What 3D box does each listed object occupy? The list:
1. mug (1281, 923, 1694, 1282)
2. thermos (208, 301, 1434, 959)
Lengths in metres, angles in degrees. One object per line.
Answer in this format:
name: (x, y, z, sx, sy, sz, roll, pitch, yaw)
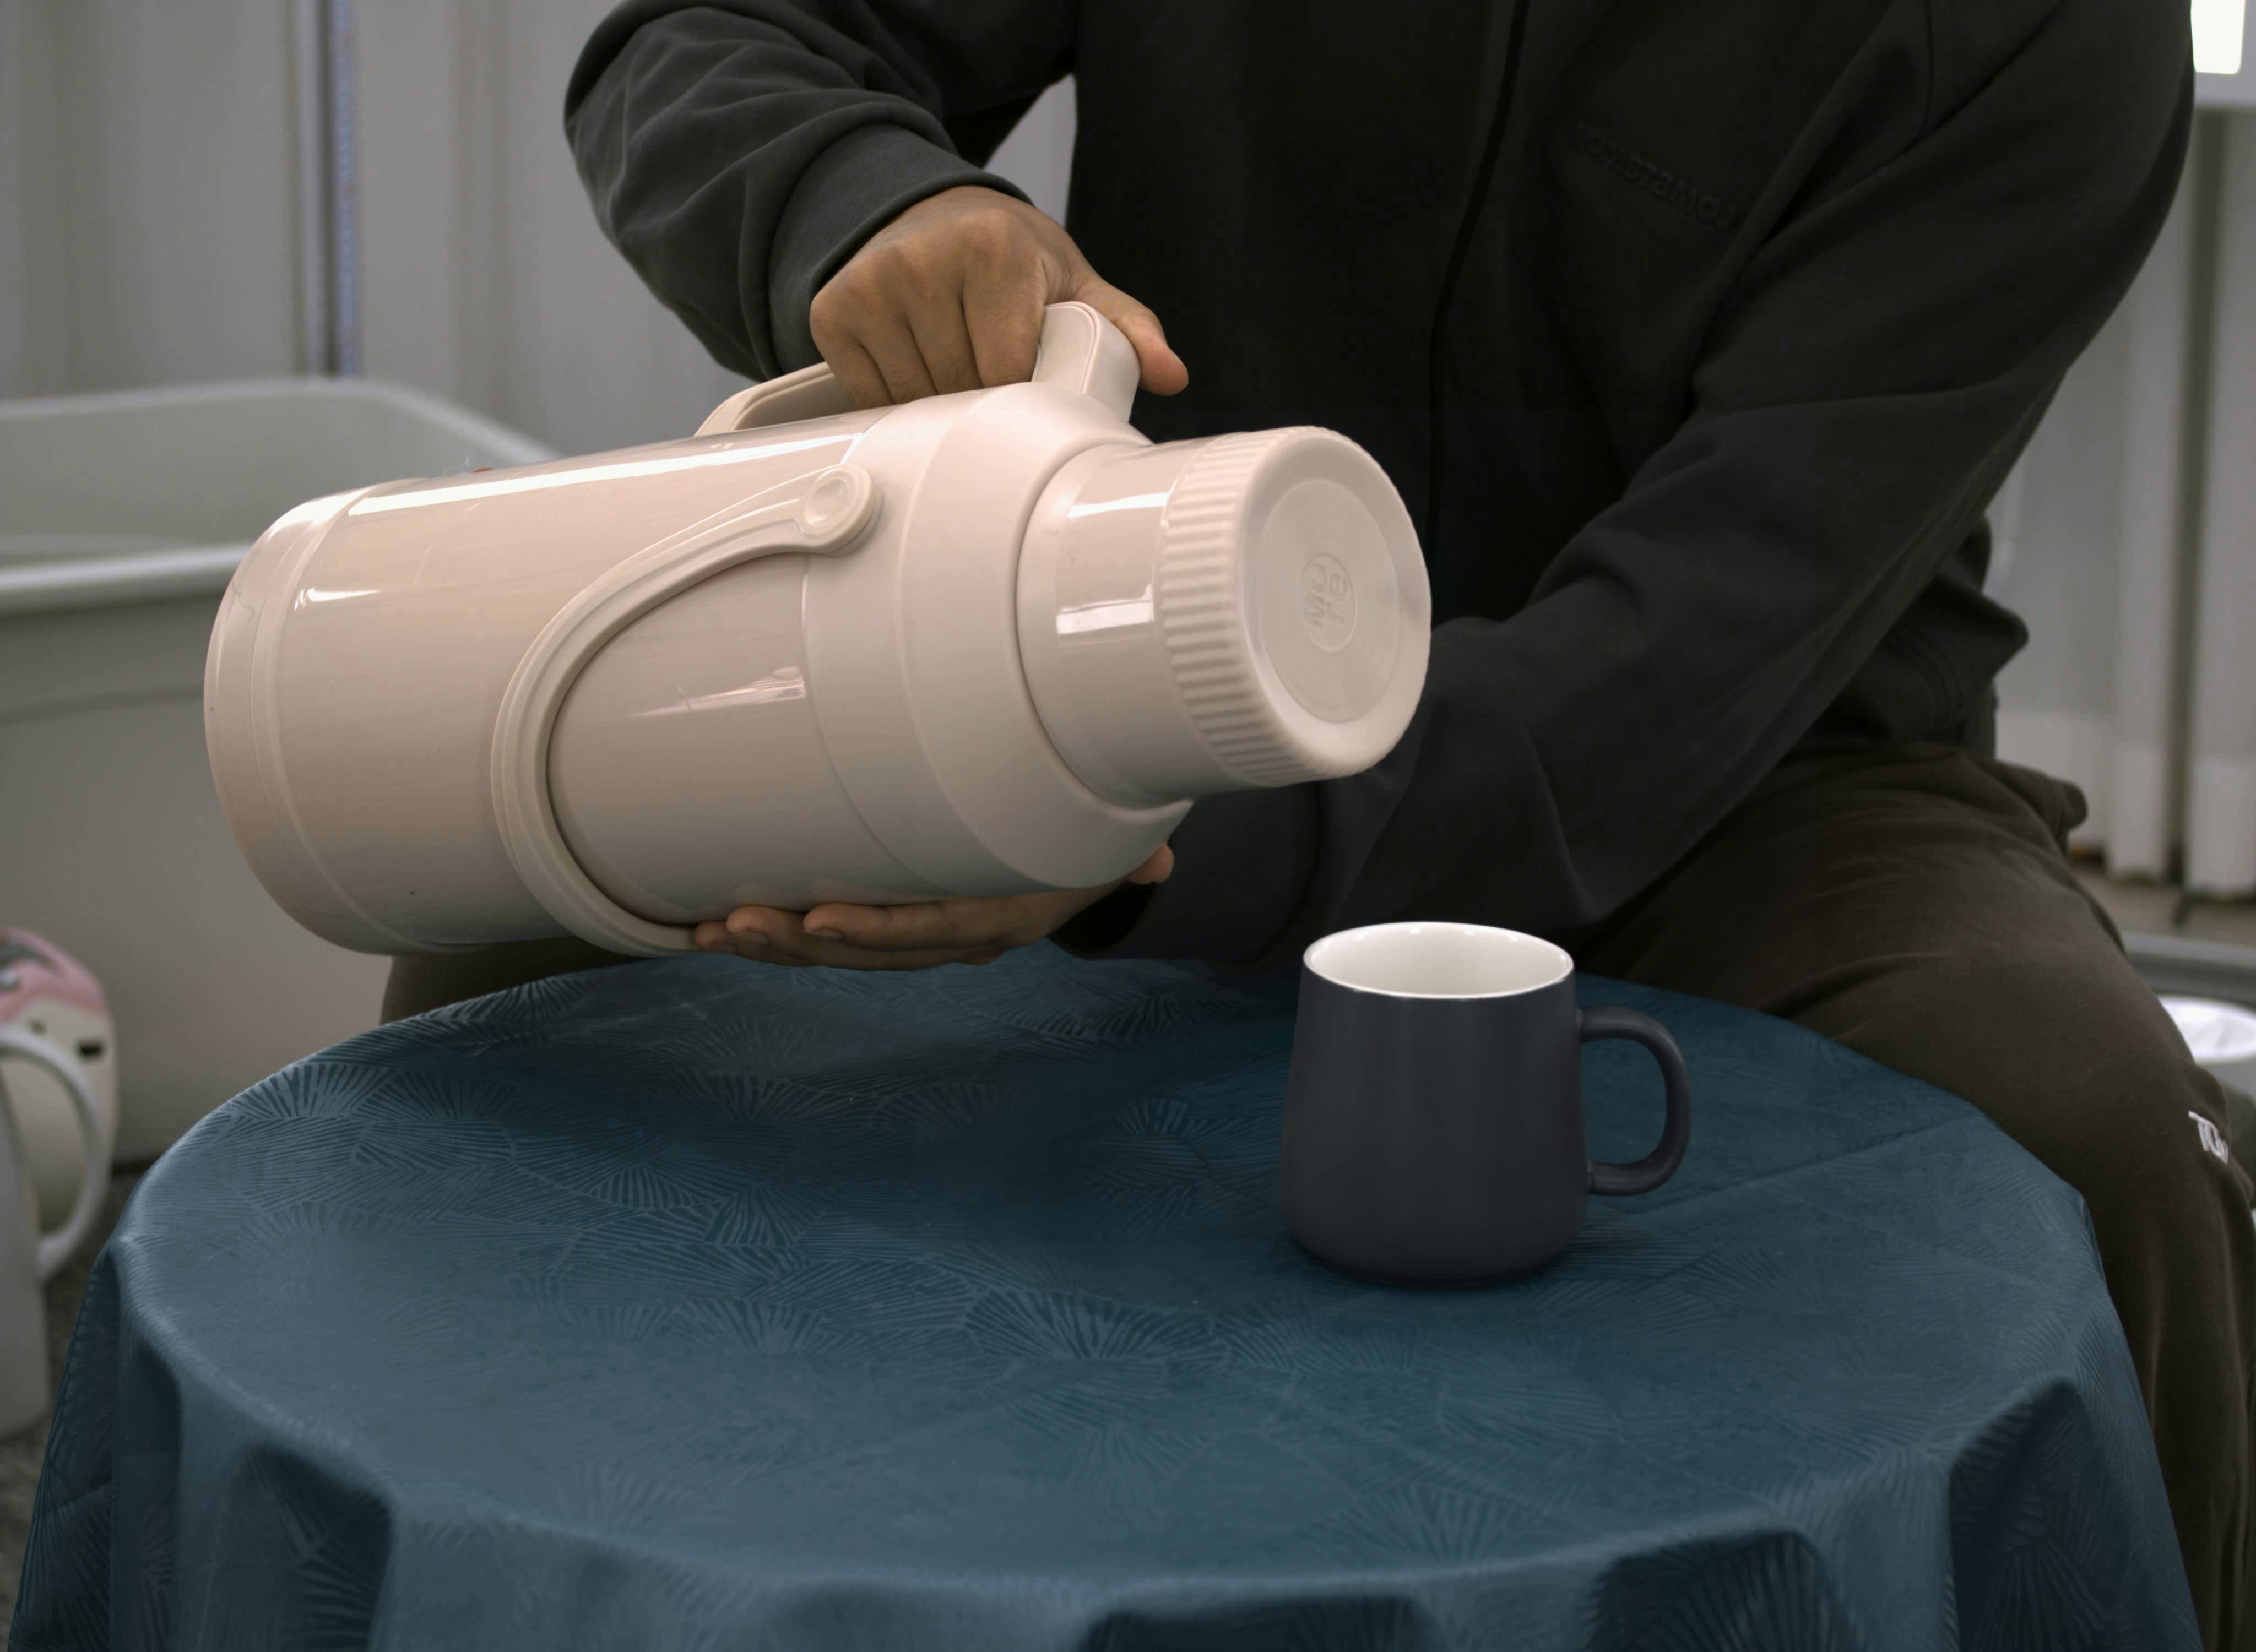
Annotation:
mug: (0.107, 0.082, 1.570, 0.123, 0.090, 0.093, 1, 16, 2)
thermos: (-0.094, -0.063, 1.667, 0.402, 0.206, 0.177, -6, -30, 37)
